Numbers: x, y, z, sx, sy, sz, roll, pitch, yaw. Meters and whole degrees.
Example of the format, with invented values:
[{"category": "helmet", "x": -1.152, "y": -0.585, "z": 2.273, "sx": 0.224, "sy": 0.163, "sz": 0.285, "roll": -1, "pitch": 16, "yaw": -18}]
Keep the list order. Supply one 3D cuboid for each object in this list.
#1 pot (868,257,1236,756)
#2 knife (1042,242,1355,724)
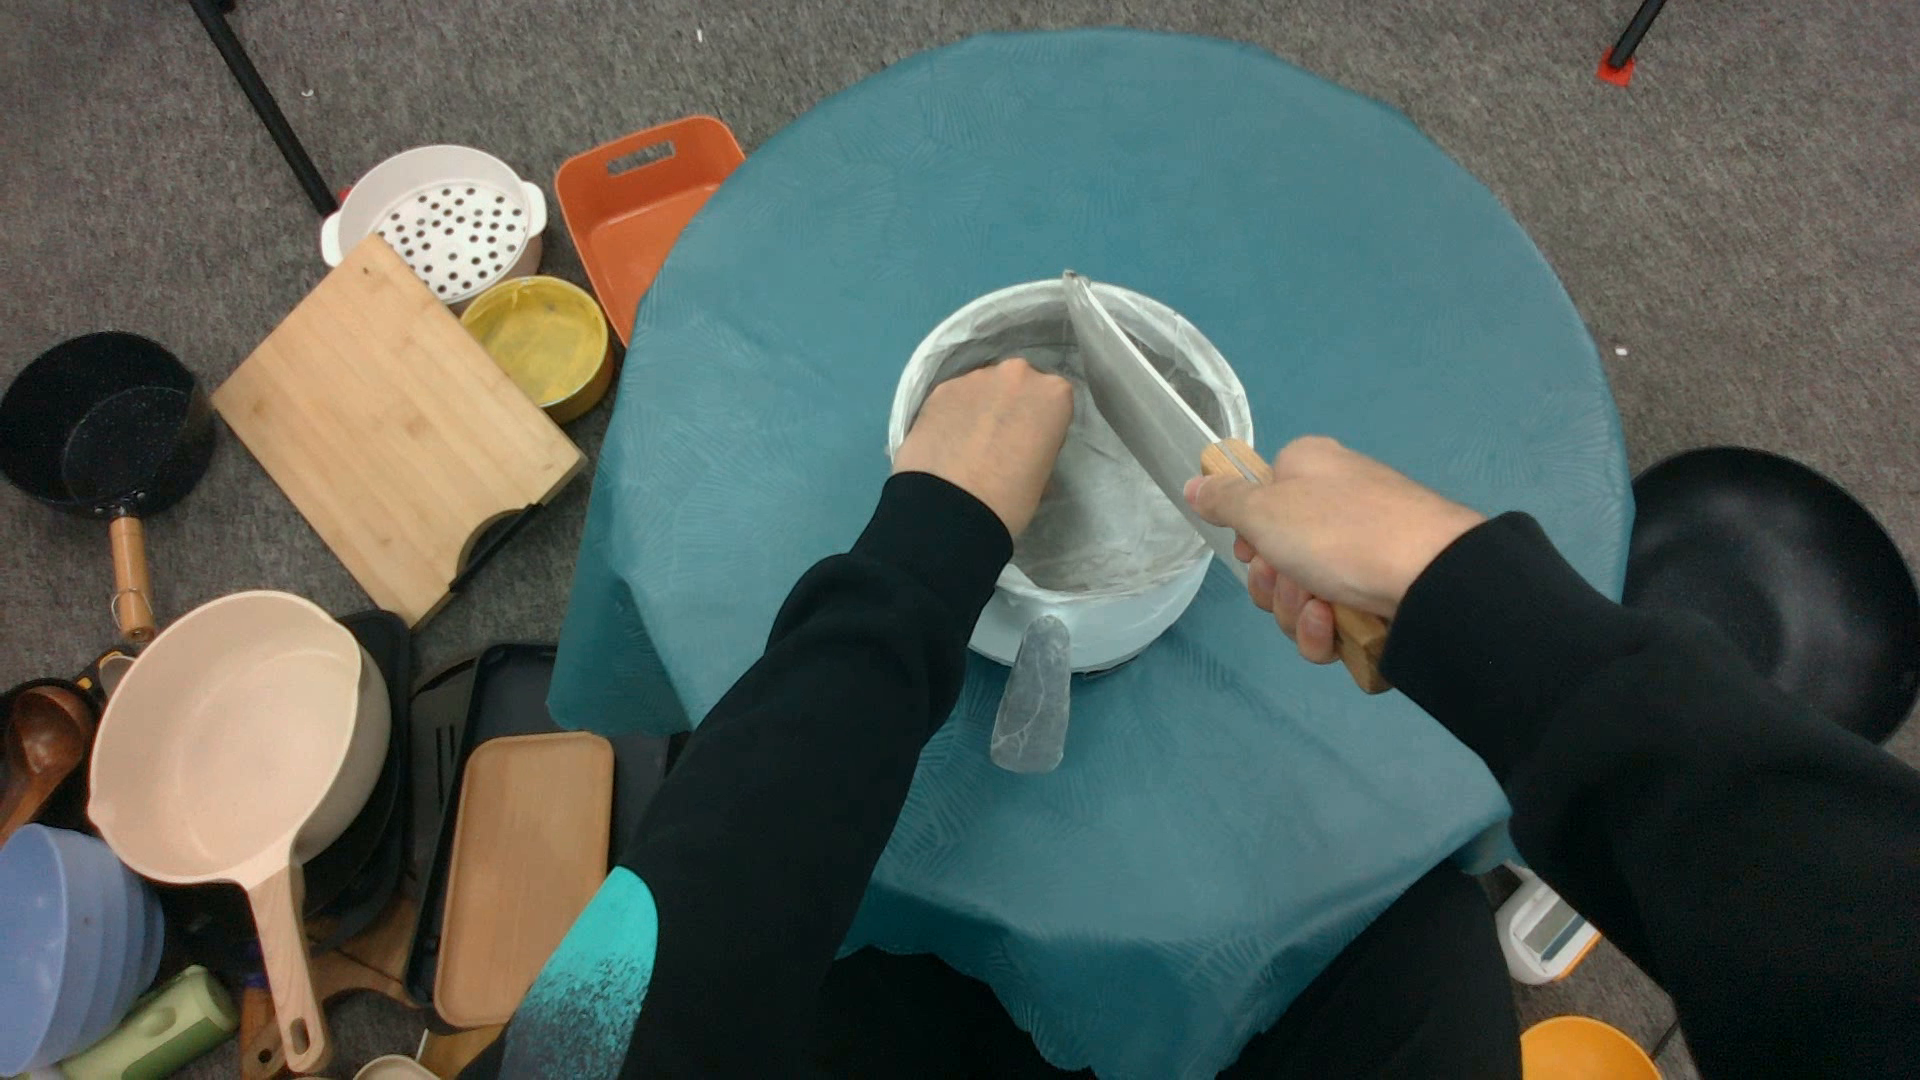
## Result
[{"category": "pot", "x": 0.040, "y": -0.012, "z": 0.709, "sx": 0.179, "sy": 0.136, "sz": 0.234, "roll": 6, "pitch": 66, "yaw": 1}, {"category": "knife", "x": 0.096, "y": -0.036, "z": 0.605, "sx": 0.021, "sy": 0.114, "sz": 0.316, "roll": -33, "pitch": 37, "yaw": 11}]
